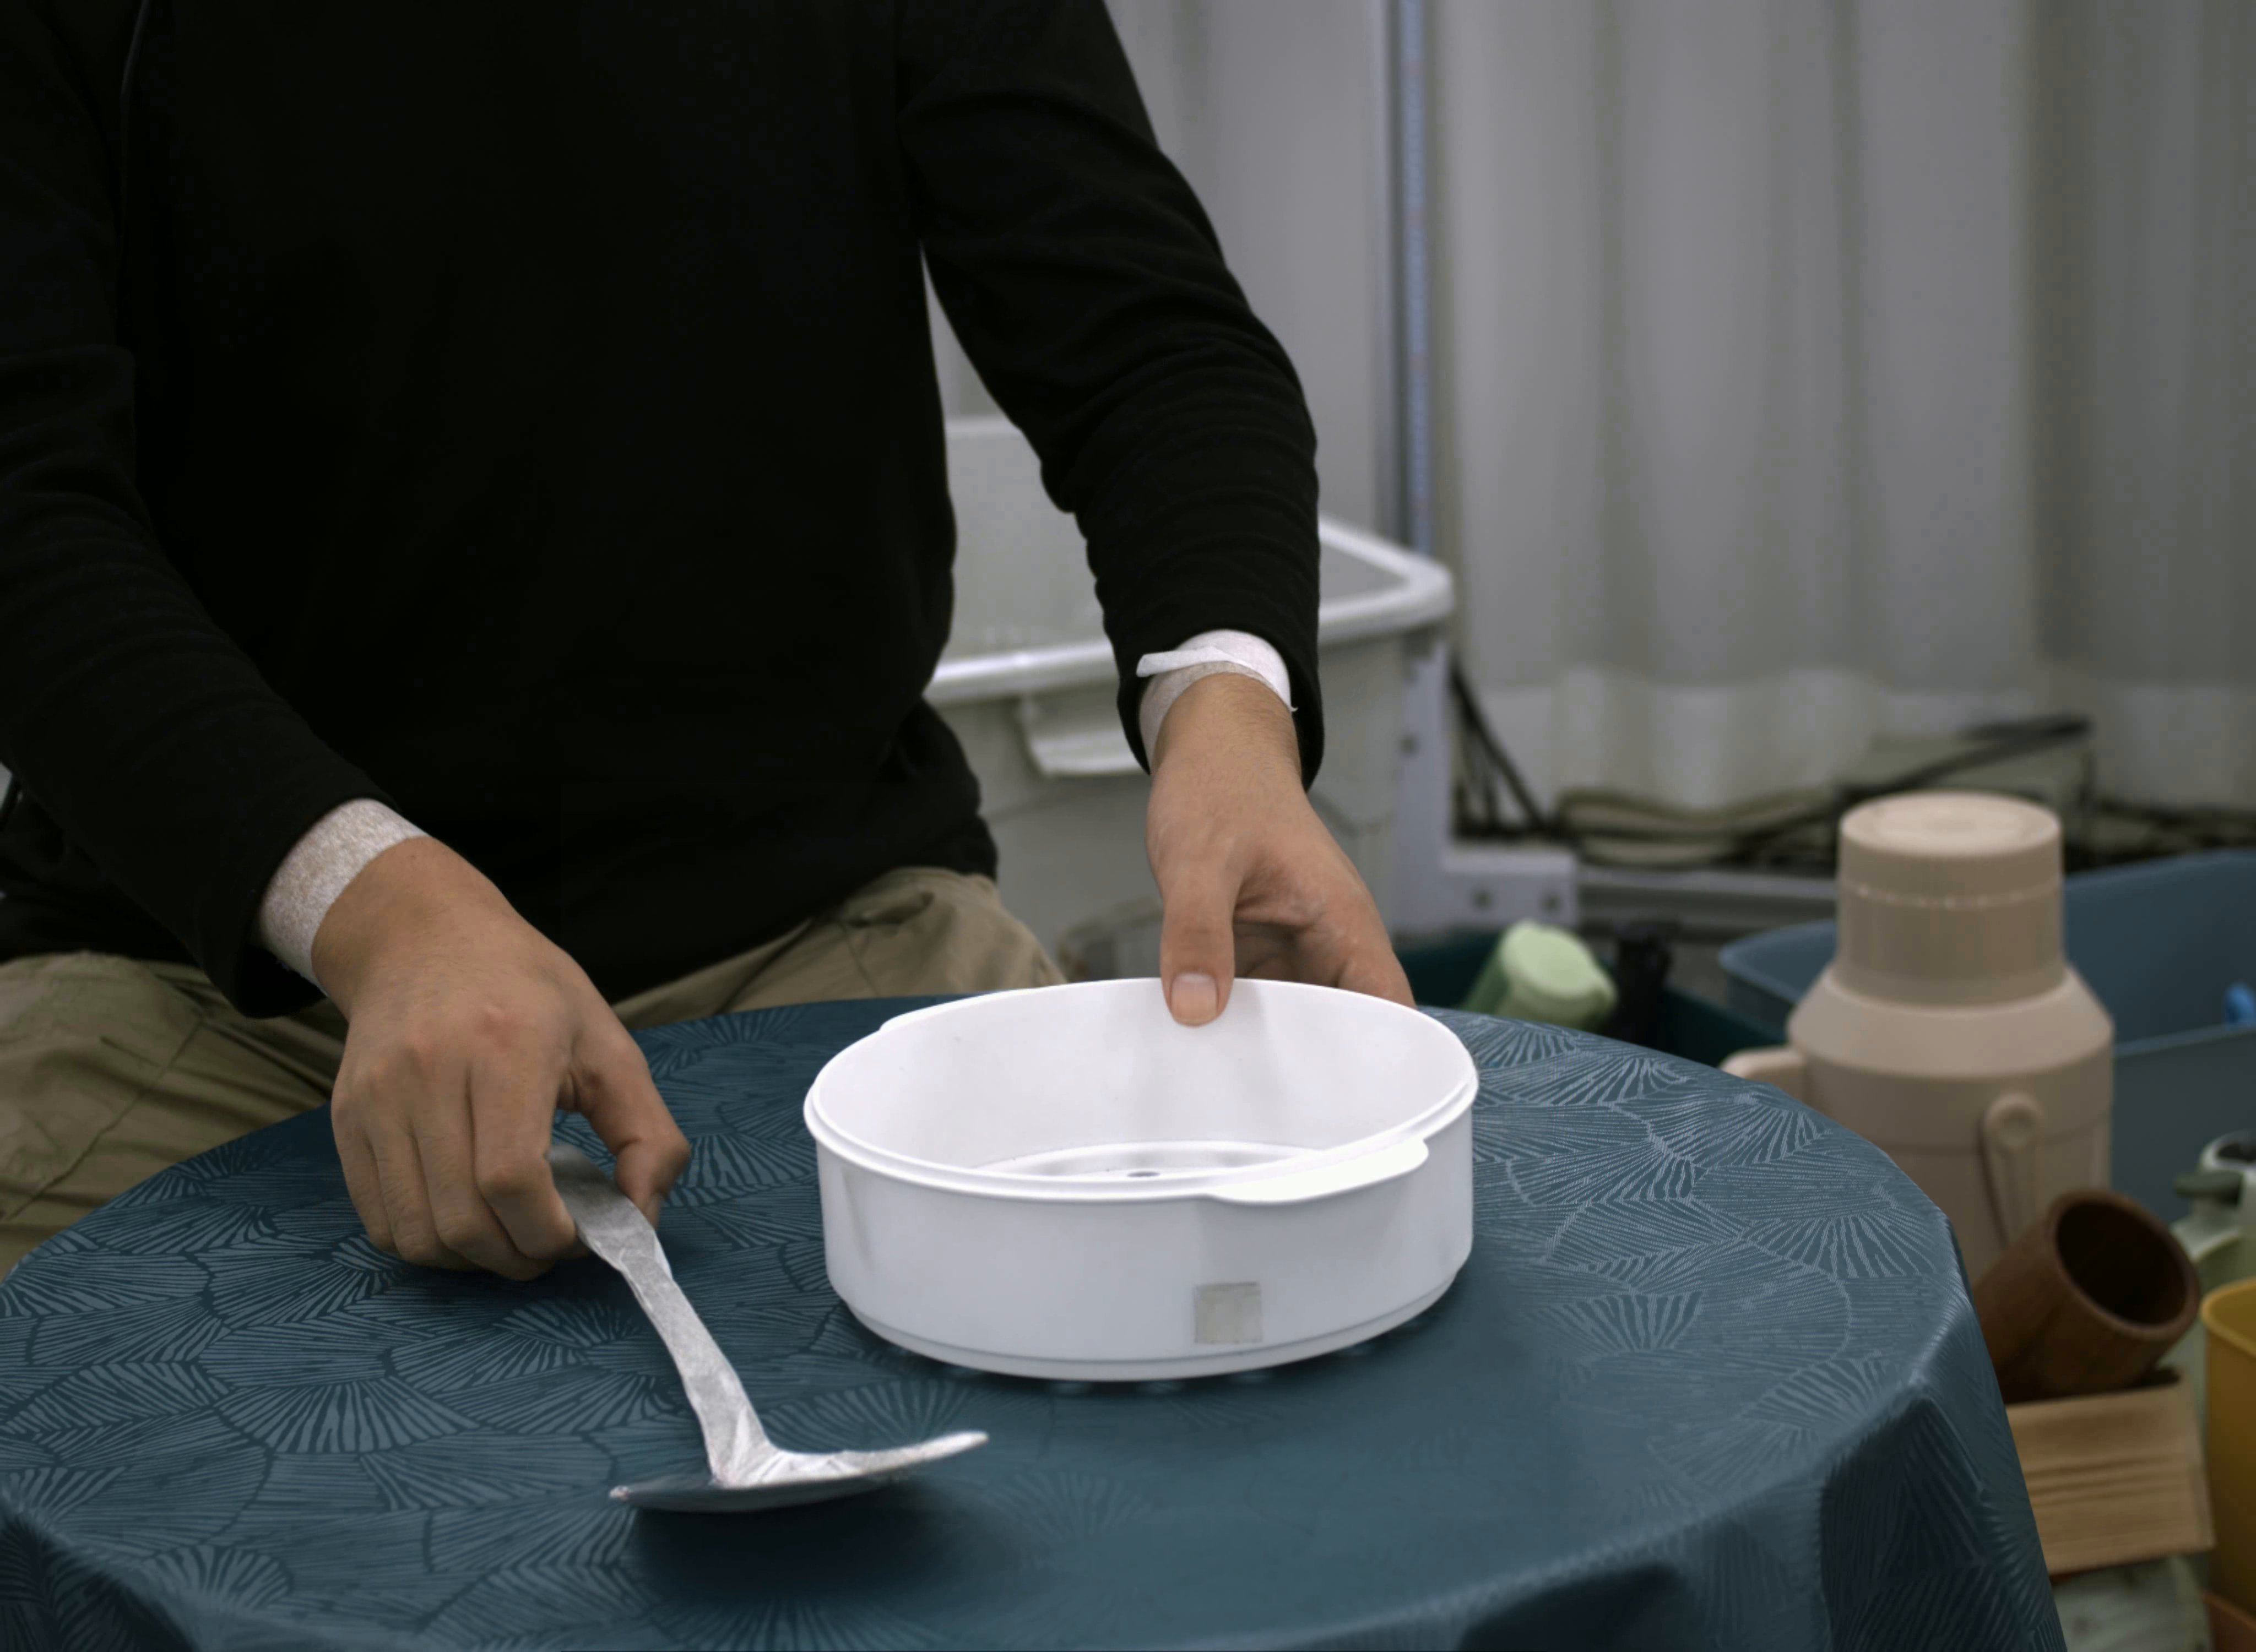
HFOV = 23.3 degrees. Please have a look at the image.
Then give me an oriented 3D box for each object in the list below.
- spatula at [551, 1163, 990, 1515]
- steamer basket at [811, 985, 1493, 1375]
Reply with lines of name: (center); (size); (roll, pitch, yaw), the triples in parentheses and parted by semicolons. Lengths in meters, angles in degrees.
spatula: (-0.127, 0.138, 1.571); (0.098, 0.044, 0.368); (-9, 17, -15)
steamer basket: (0.008, 0.104, 1.616); (0.201, 0.069, 0.232); (-10, 16, -29)
